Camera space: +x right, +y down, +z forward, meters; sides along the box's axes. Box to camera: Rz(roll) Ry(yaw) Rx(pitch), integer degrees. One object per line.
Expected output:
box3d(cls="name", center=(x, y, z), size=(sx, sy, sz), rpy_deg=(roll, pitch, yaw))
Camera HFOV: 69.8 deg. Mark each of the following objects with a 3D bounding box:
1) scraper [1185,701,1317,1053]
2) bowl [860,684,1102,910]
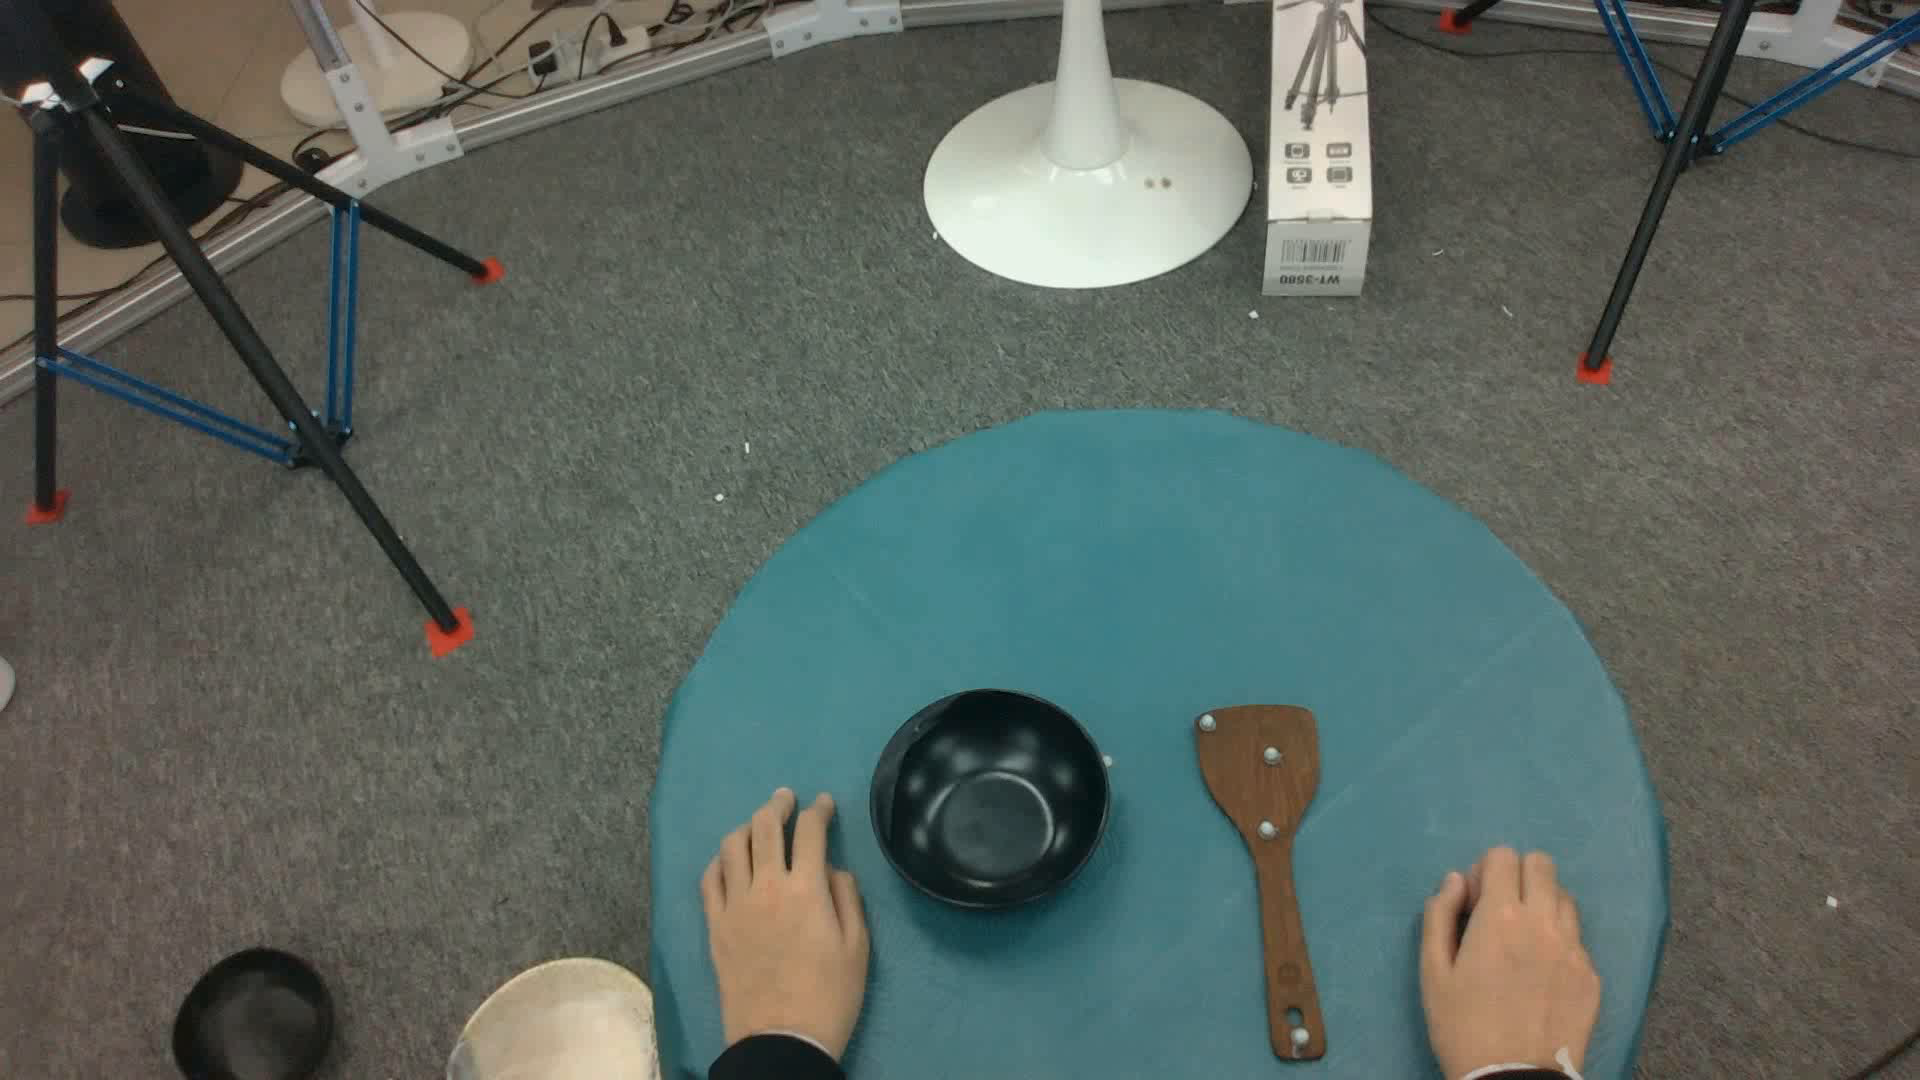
box3d(cls="scraper", center=(0.175, 0.186, 0.789), size=(0.076, 0.011, 0.212), rpy_deg=(-3, 52, 5))
box3d(cls="bowl", center=(0.012, 0.156, 0.804), size=(0.140, 0.049, 0.140), rpy_deg=(-1, 53, 1))
